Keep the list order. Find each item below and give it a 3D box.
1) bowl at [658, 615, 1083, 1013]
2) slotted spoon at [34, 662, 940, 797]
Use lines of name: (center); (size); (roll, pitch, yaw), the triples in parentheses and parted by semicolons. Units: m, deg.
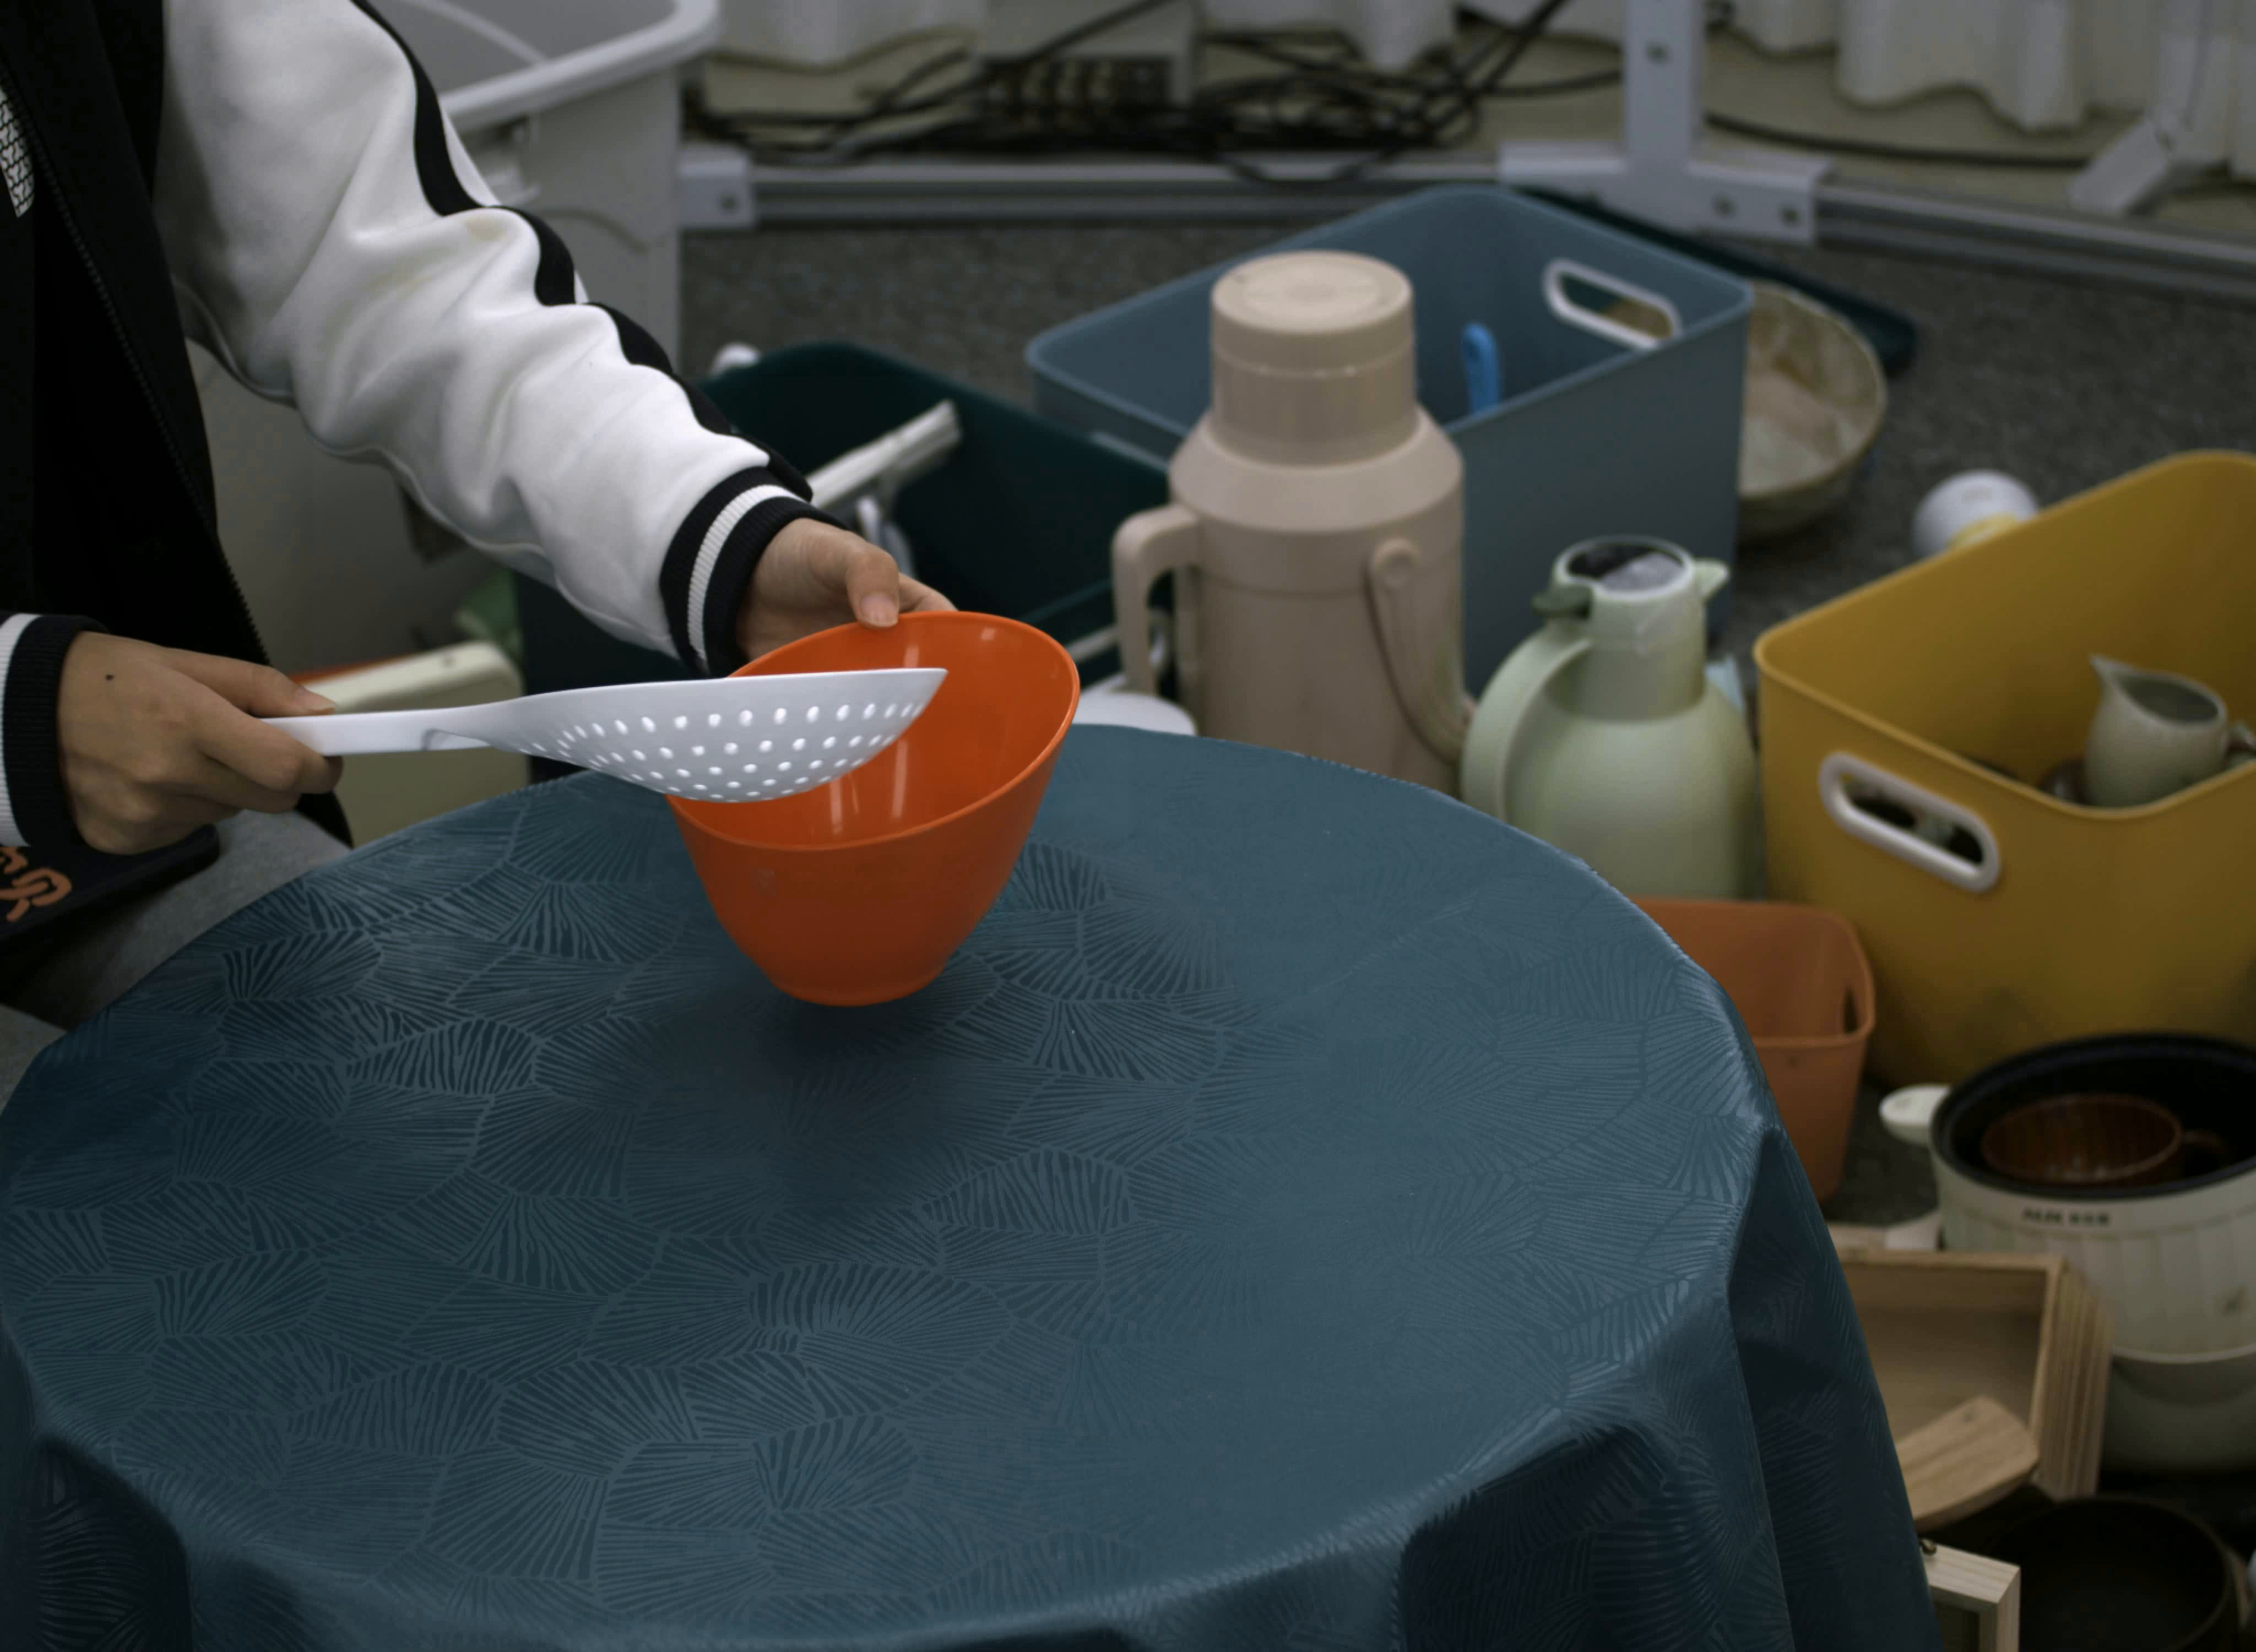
bowl: (-0.087, 0.003, 1.949); (0.147, 0.103, 0.150); (-1, 31, 1)
slotted spoon: (-0.224, -0.036, 1.900); (0.346, 0.046, 0.137); (2, 3, 27)
